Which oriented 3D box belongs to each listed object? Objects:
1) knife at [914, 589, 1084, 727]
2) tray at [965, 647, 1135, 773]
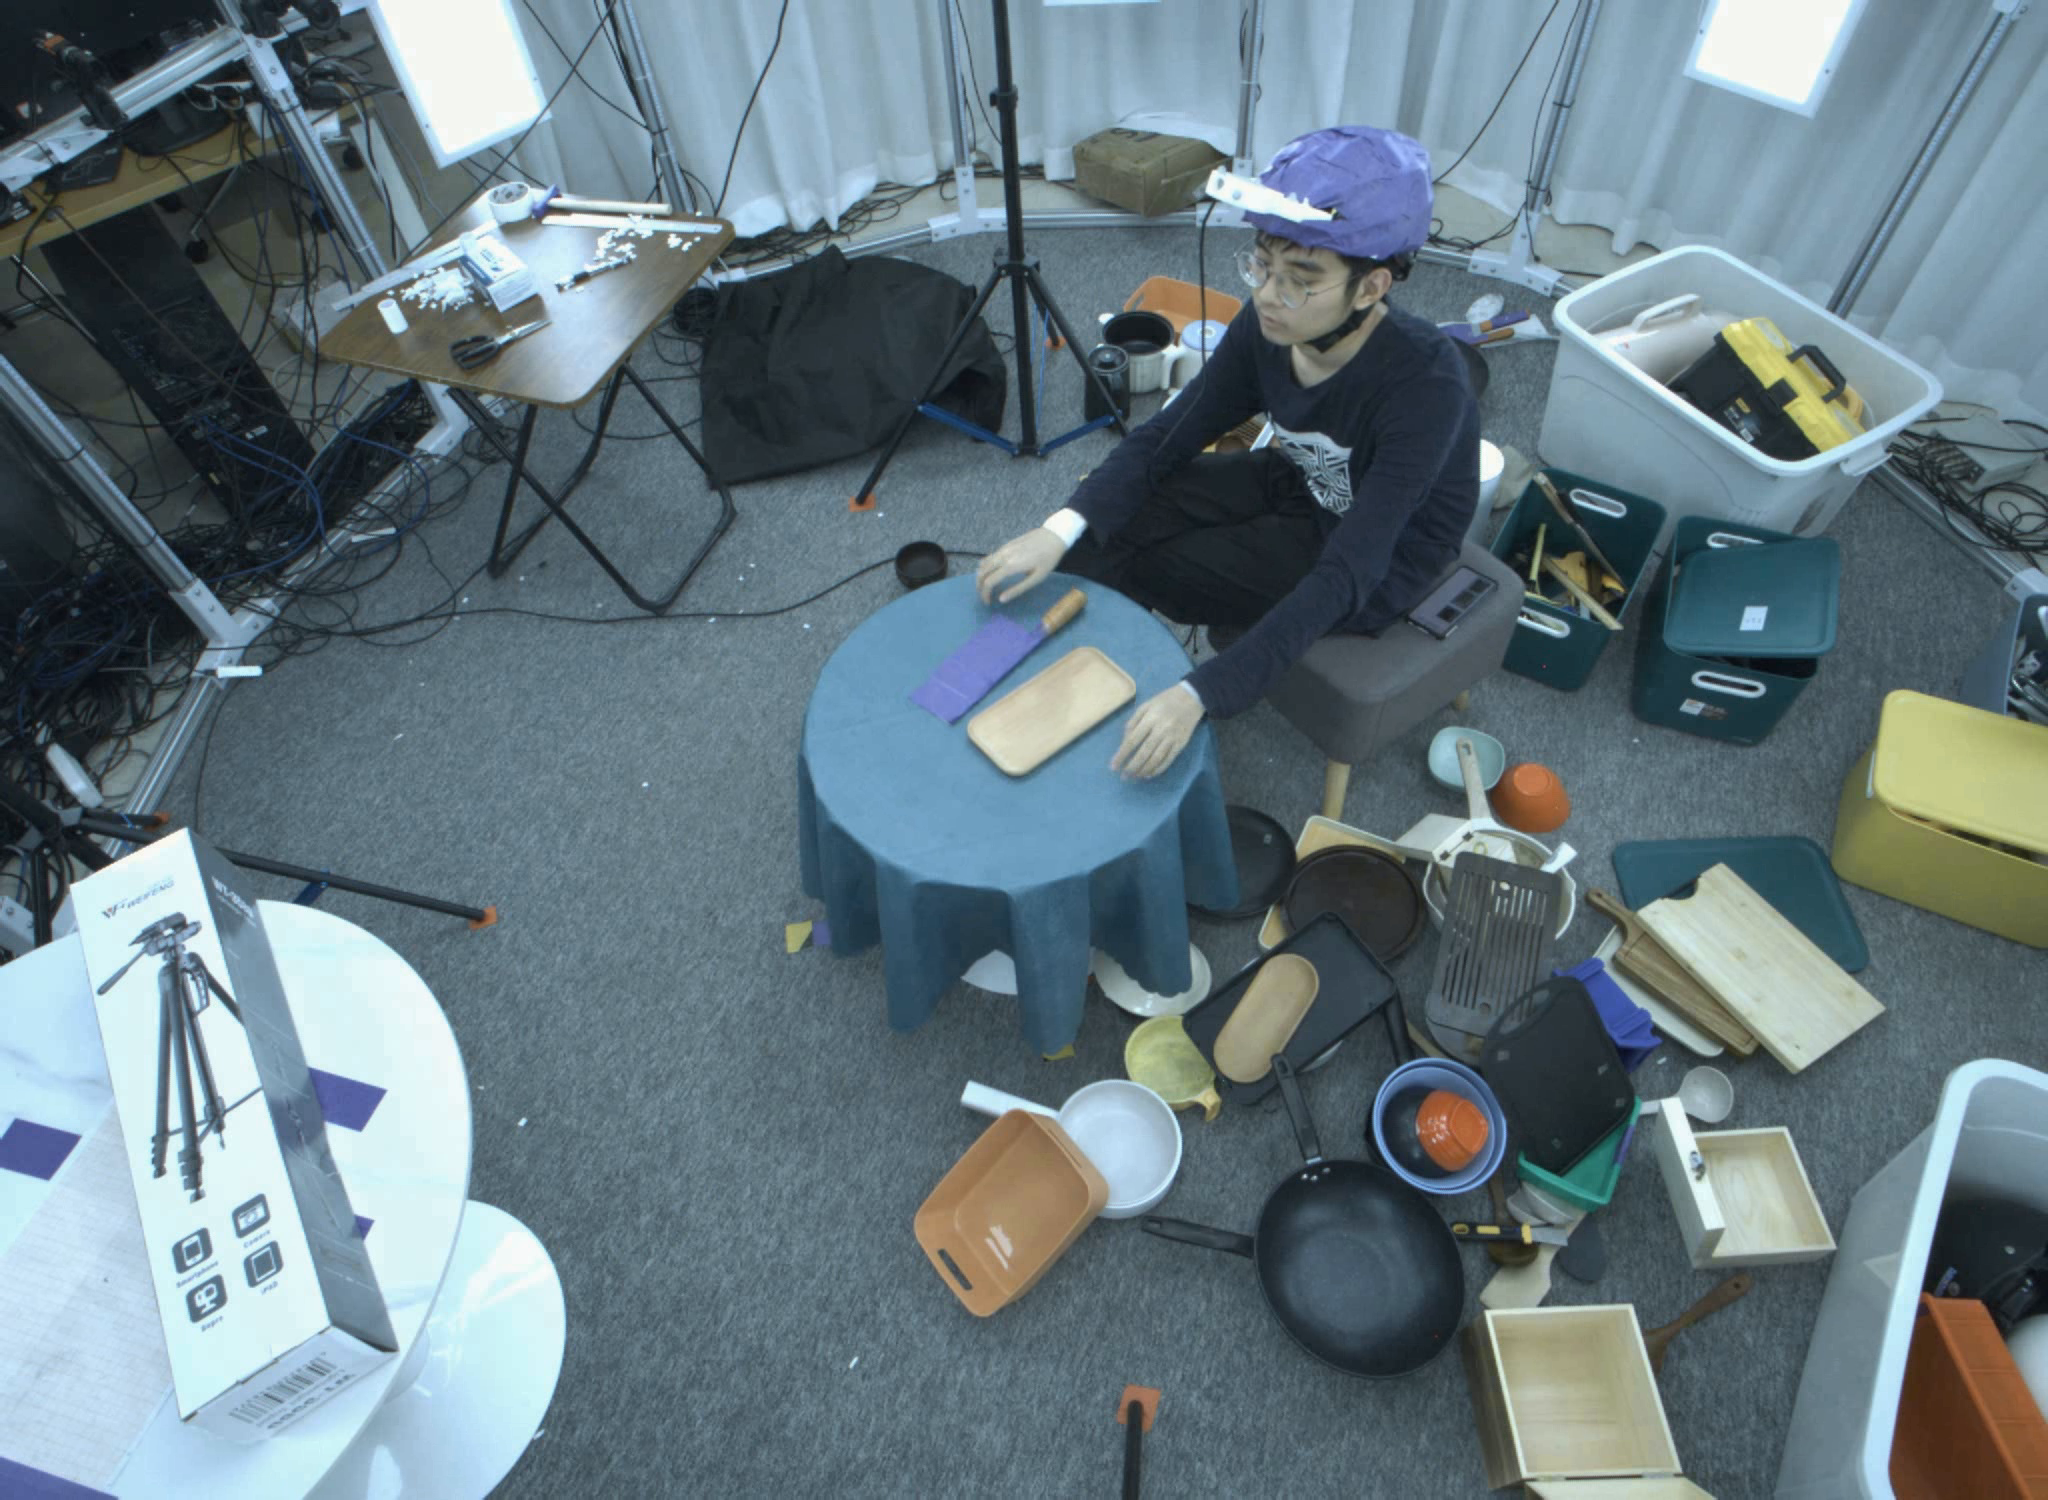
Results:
[{"bbox_3d":[-0.040,-0.160,1.894,0.102,0.032,0.317,35,63,23],"label":"knife"},{"bbox_3d":[0.040,-0.061,1.827,0.252,0.023,0.128,-32,58,-19],"label":"tray"}]
